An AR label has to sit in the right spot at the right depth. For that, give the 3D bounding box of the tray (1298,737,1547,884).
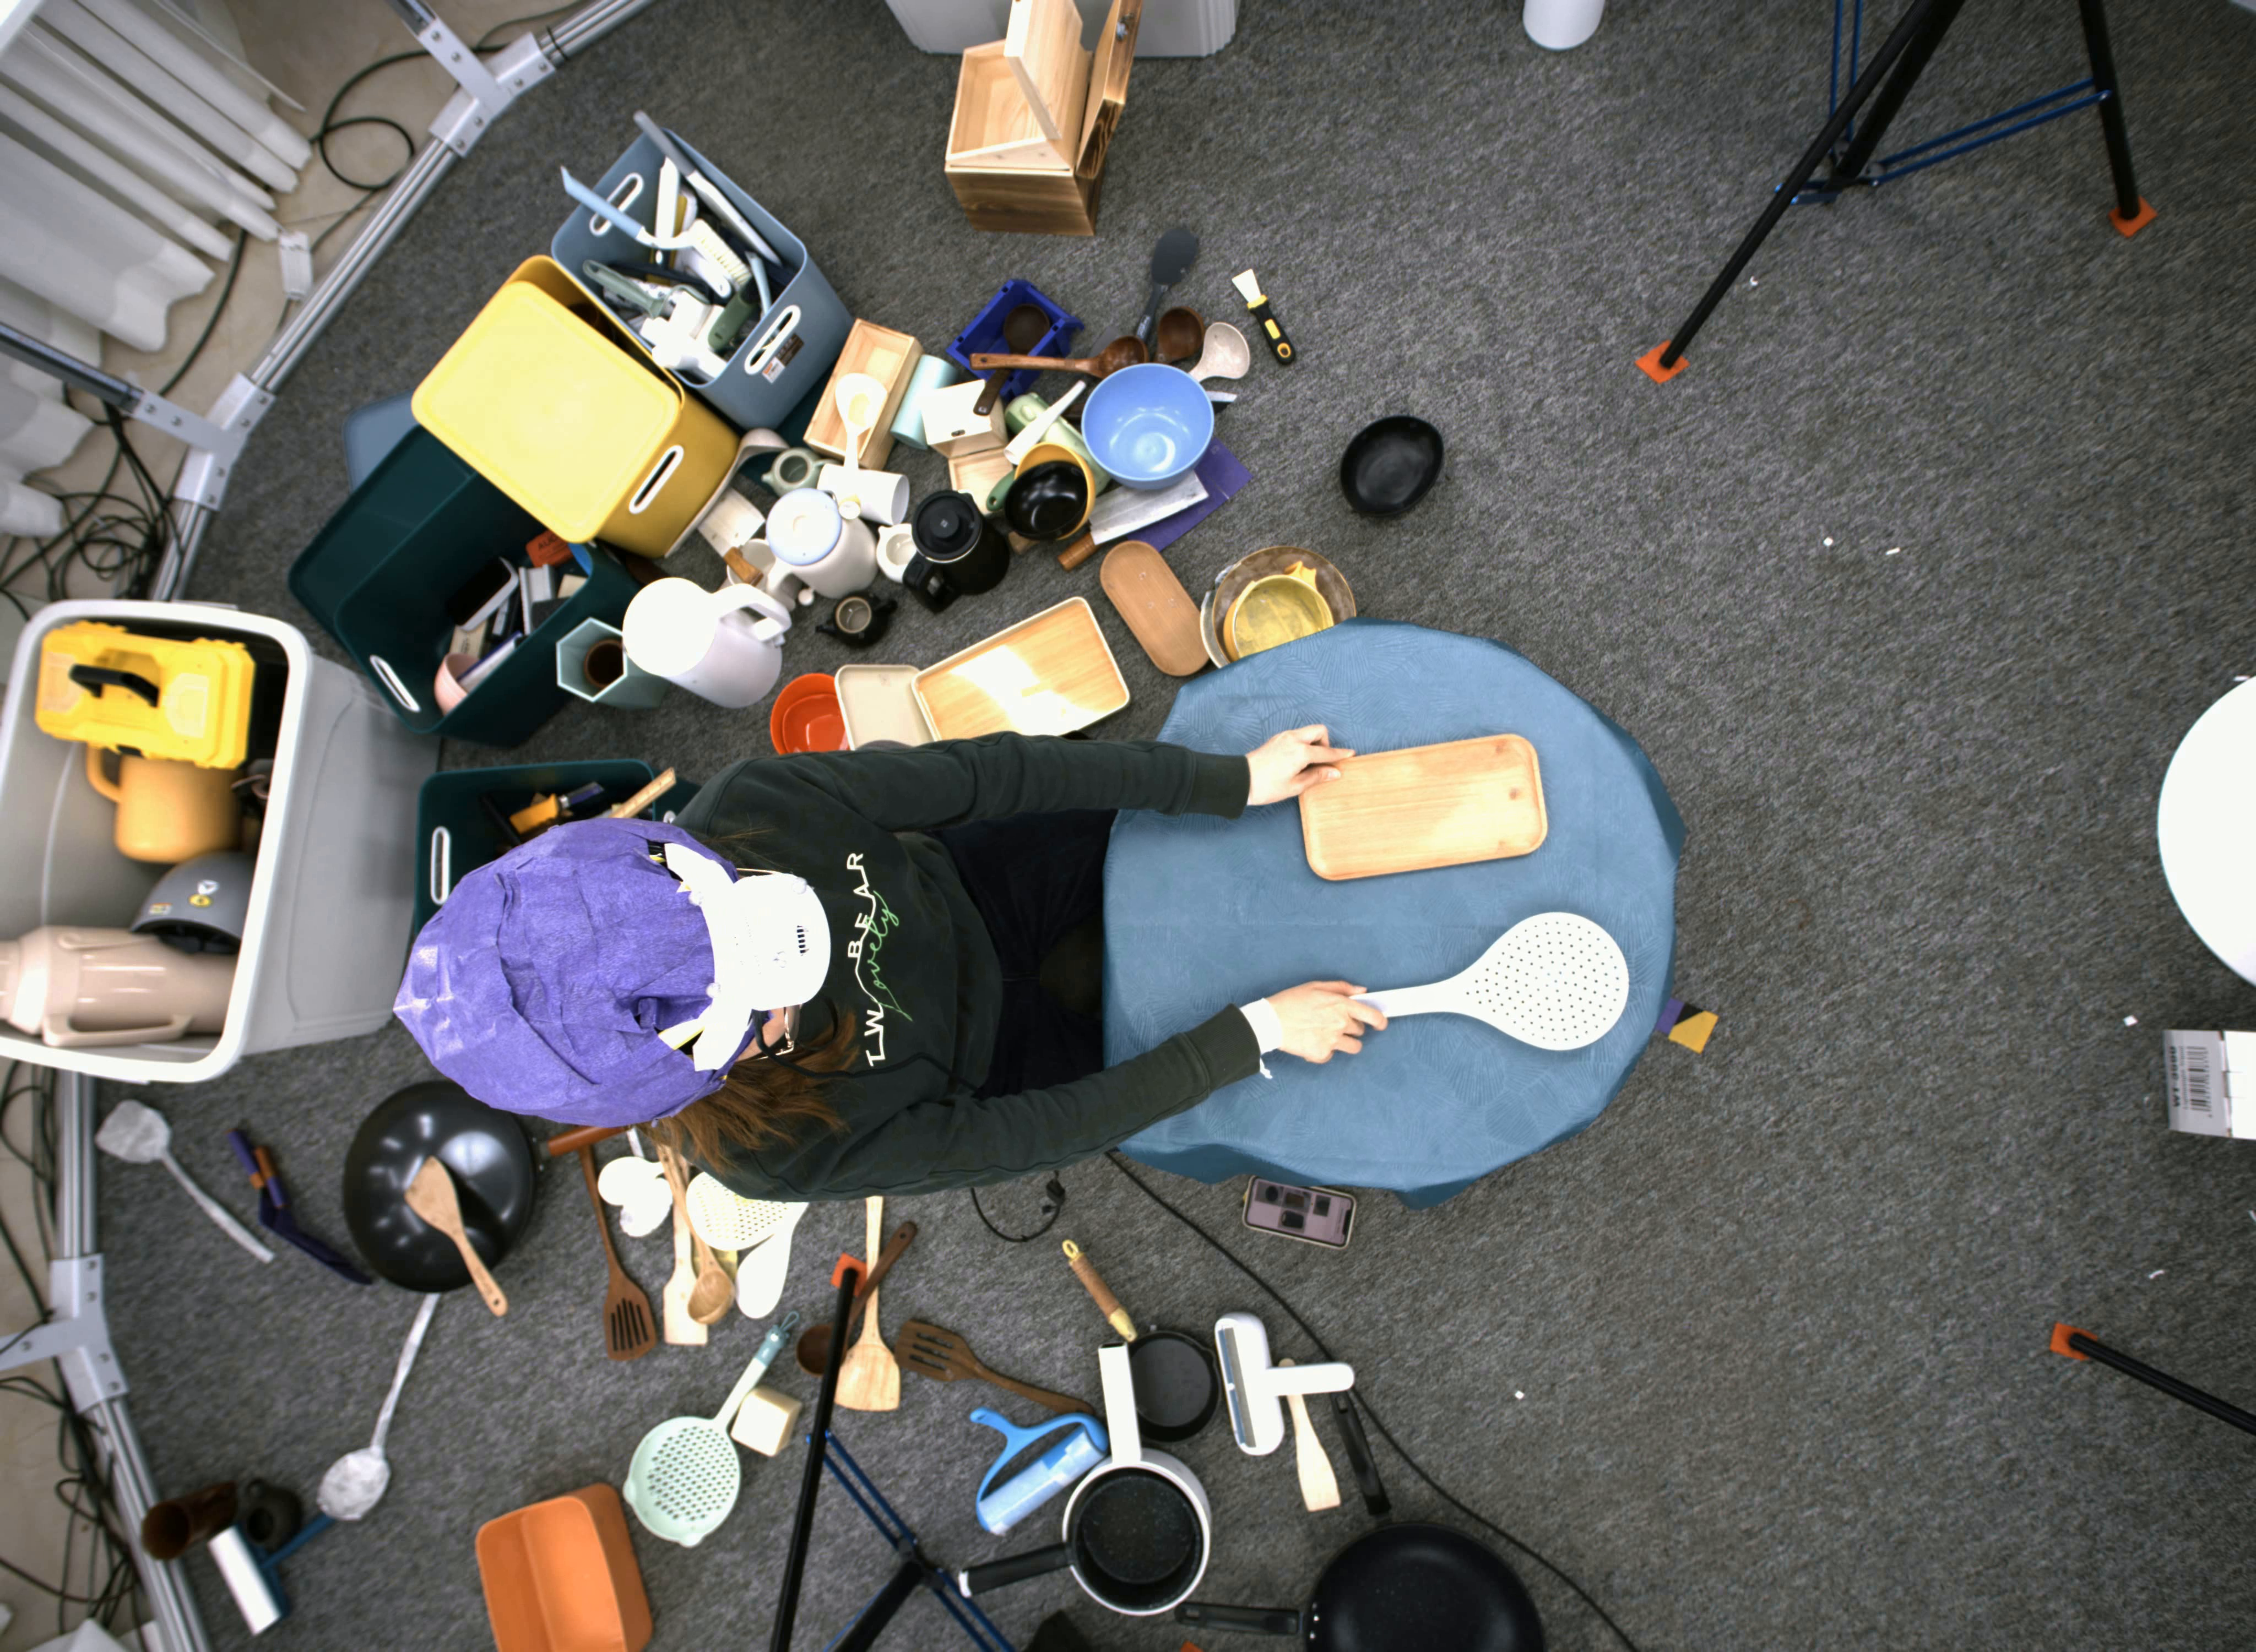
[{"bbox_3d":[0.309,-0.017,1.451,0.252,0.023,0.130,-8,87,11],"label":"tray"}]

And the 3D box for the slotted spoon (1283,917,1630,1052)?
[{"bbox_3d":[0.333,0.175,1.423,0.351,0.046,0.135,-9,82,10],"label":"slotted spoon"}]
